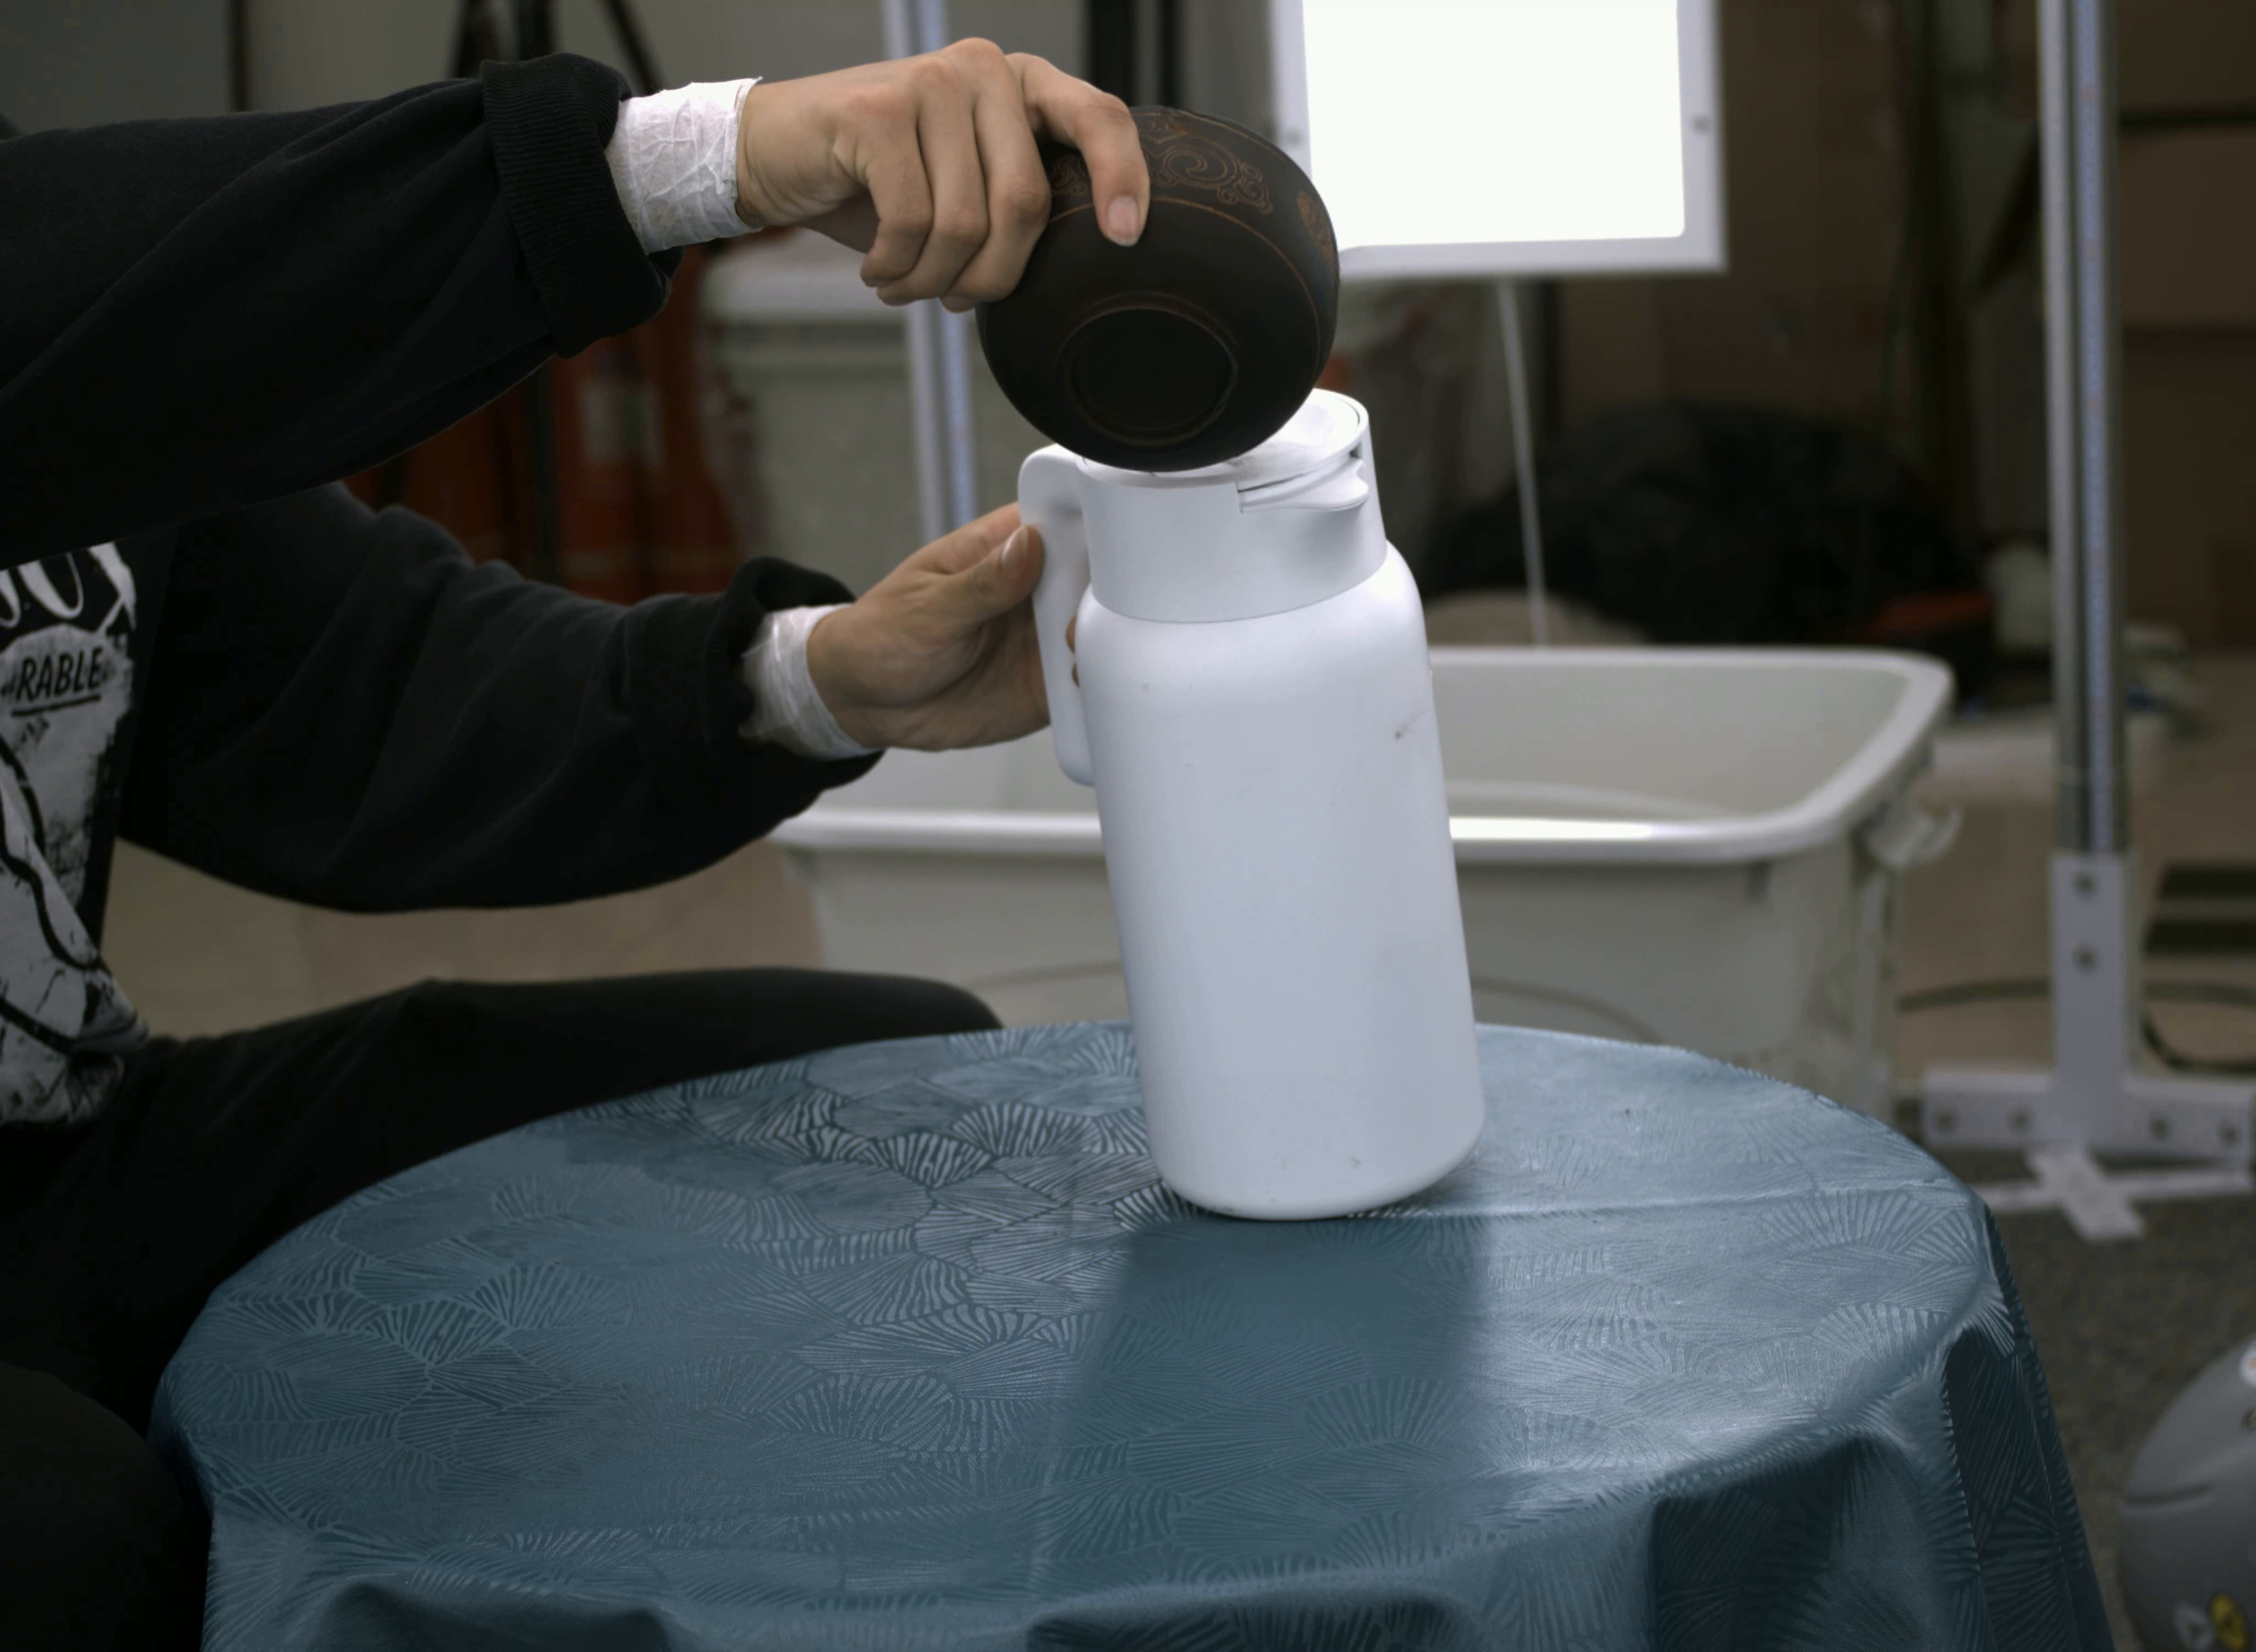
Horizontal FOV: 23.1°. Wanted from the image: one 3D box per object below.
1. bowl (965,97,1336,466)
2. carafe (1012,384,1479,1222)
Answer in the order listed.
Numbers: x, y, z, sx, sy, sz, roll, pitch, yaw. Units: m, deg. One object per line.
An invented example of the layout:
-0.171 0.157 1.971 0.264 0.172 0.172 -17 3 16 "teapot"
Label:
0.006 -0.162 1.722 0.118 0.118 0.069 -2 42 9 "bowl"
0.036 -0.011 1.859 0.121 0.269 0.176 -26 28 -32 "carafe"
